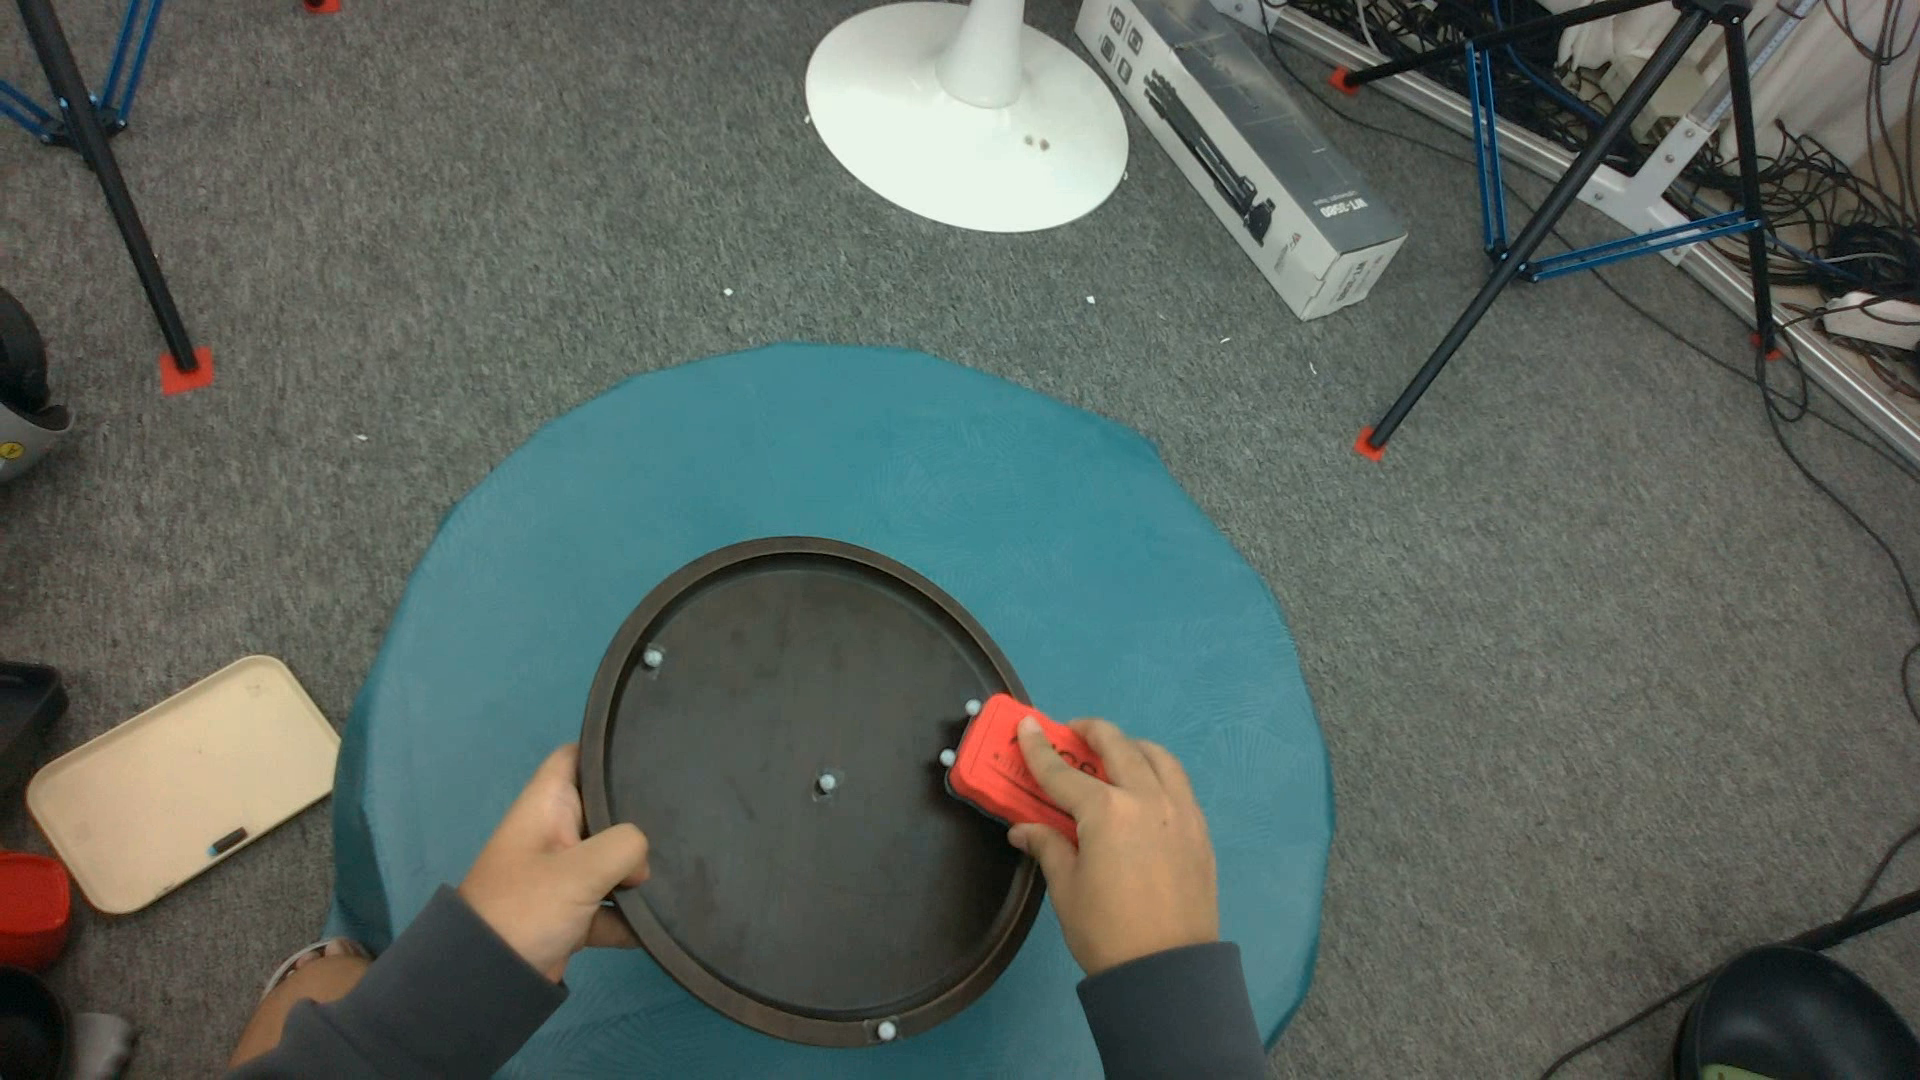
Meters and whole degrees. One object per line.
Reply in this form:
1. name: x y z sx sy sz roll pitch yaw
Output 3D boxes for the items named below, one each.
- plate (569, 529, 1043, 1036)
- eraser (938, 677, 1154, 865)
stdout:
1. plate: -0.068 0.112 0.678 0.255 0.029 0.256 16 59 -27
2. eraser: 0.046 0.120 0.714 0.108 0.023 0.059 31 53 -7
